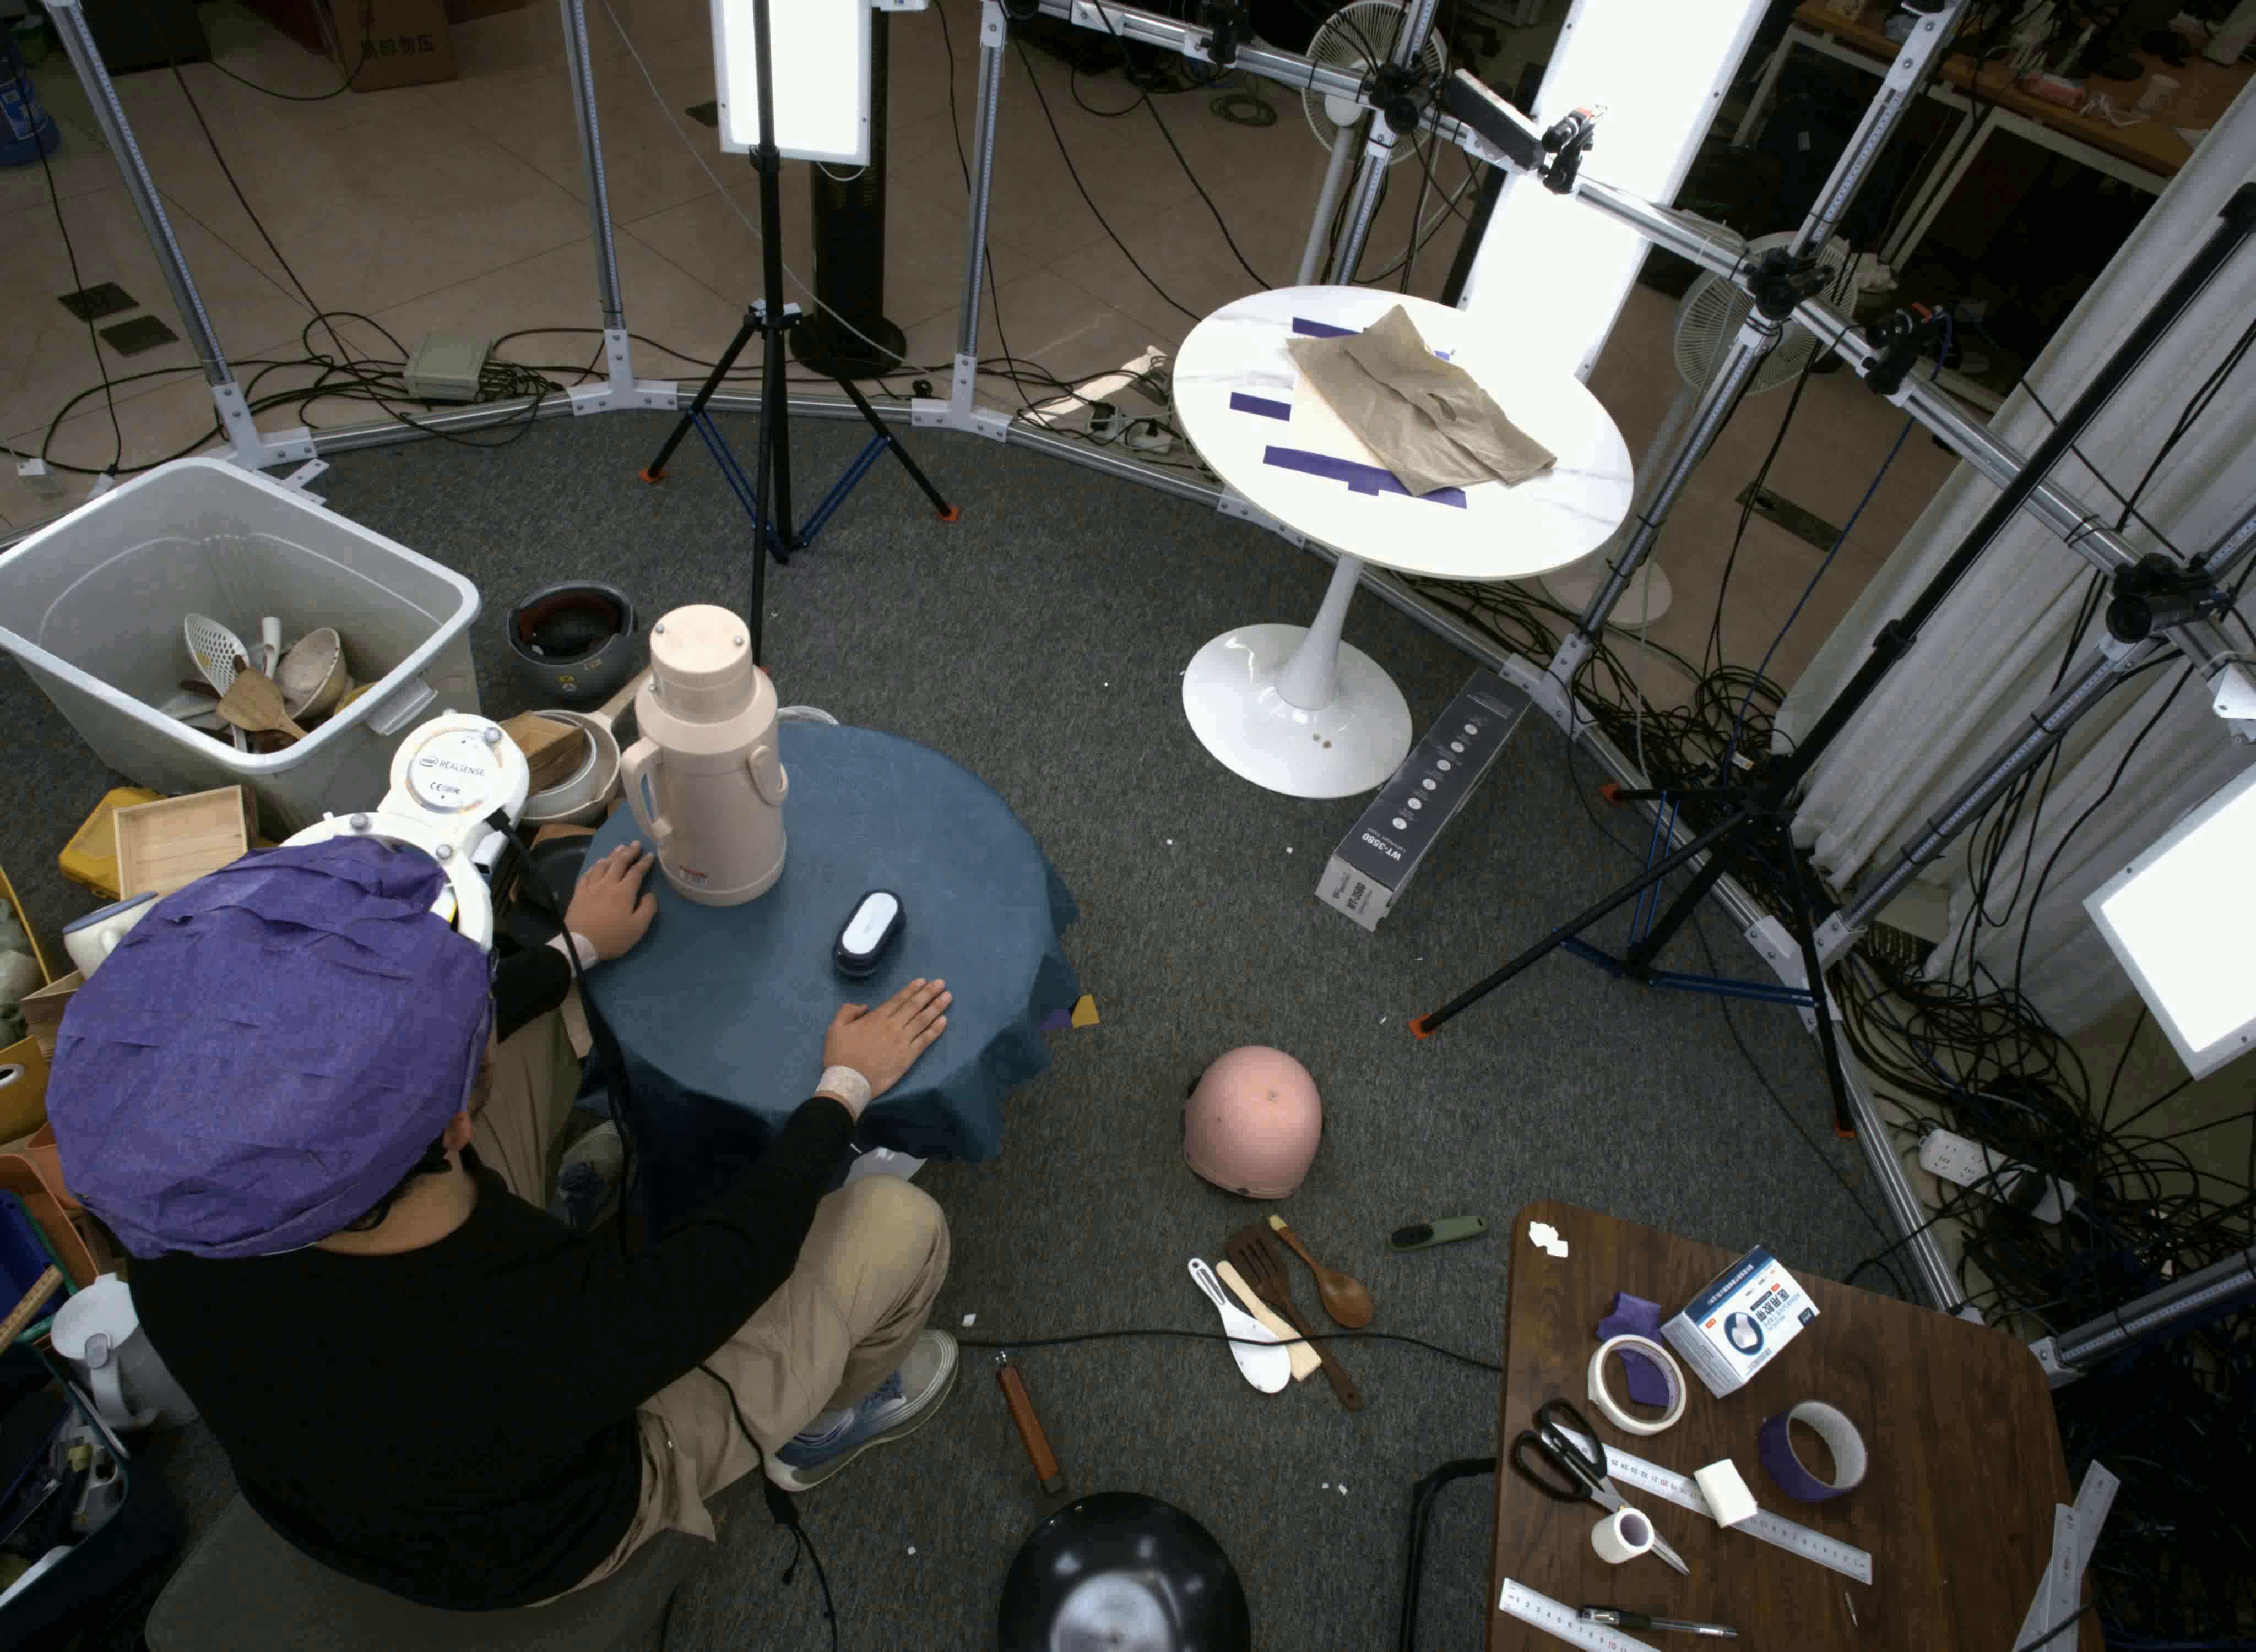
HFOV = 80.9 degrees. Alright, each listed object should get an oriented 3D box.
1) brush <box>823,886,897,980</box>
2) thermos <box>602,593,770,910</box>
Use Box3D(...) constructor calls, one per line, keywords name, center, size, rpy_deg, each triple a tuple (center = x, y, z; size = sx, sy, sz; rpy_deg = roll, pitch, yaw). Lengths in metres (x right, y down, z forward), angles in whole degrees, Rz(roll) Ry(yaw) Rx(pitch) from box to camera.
Box3D(name="brush", center=(-0.331, 0.132, 1.608), size=(0.067, 0.062, 0.120), rpy_deg=(21, 51, 7))
Box3D(name="thermos", center=(-0.517, -0.076, 1.494), size=(0.172, 0.414, 0.207), rpy_deg=(34, 53, 13))
